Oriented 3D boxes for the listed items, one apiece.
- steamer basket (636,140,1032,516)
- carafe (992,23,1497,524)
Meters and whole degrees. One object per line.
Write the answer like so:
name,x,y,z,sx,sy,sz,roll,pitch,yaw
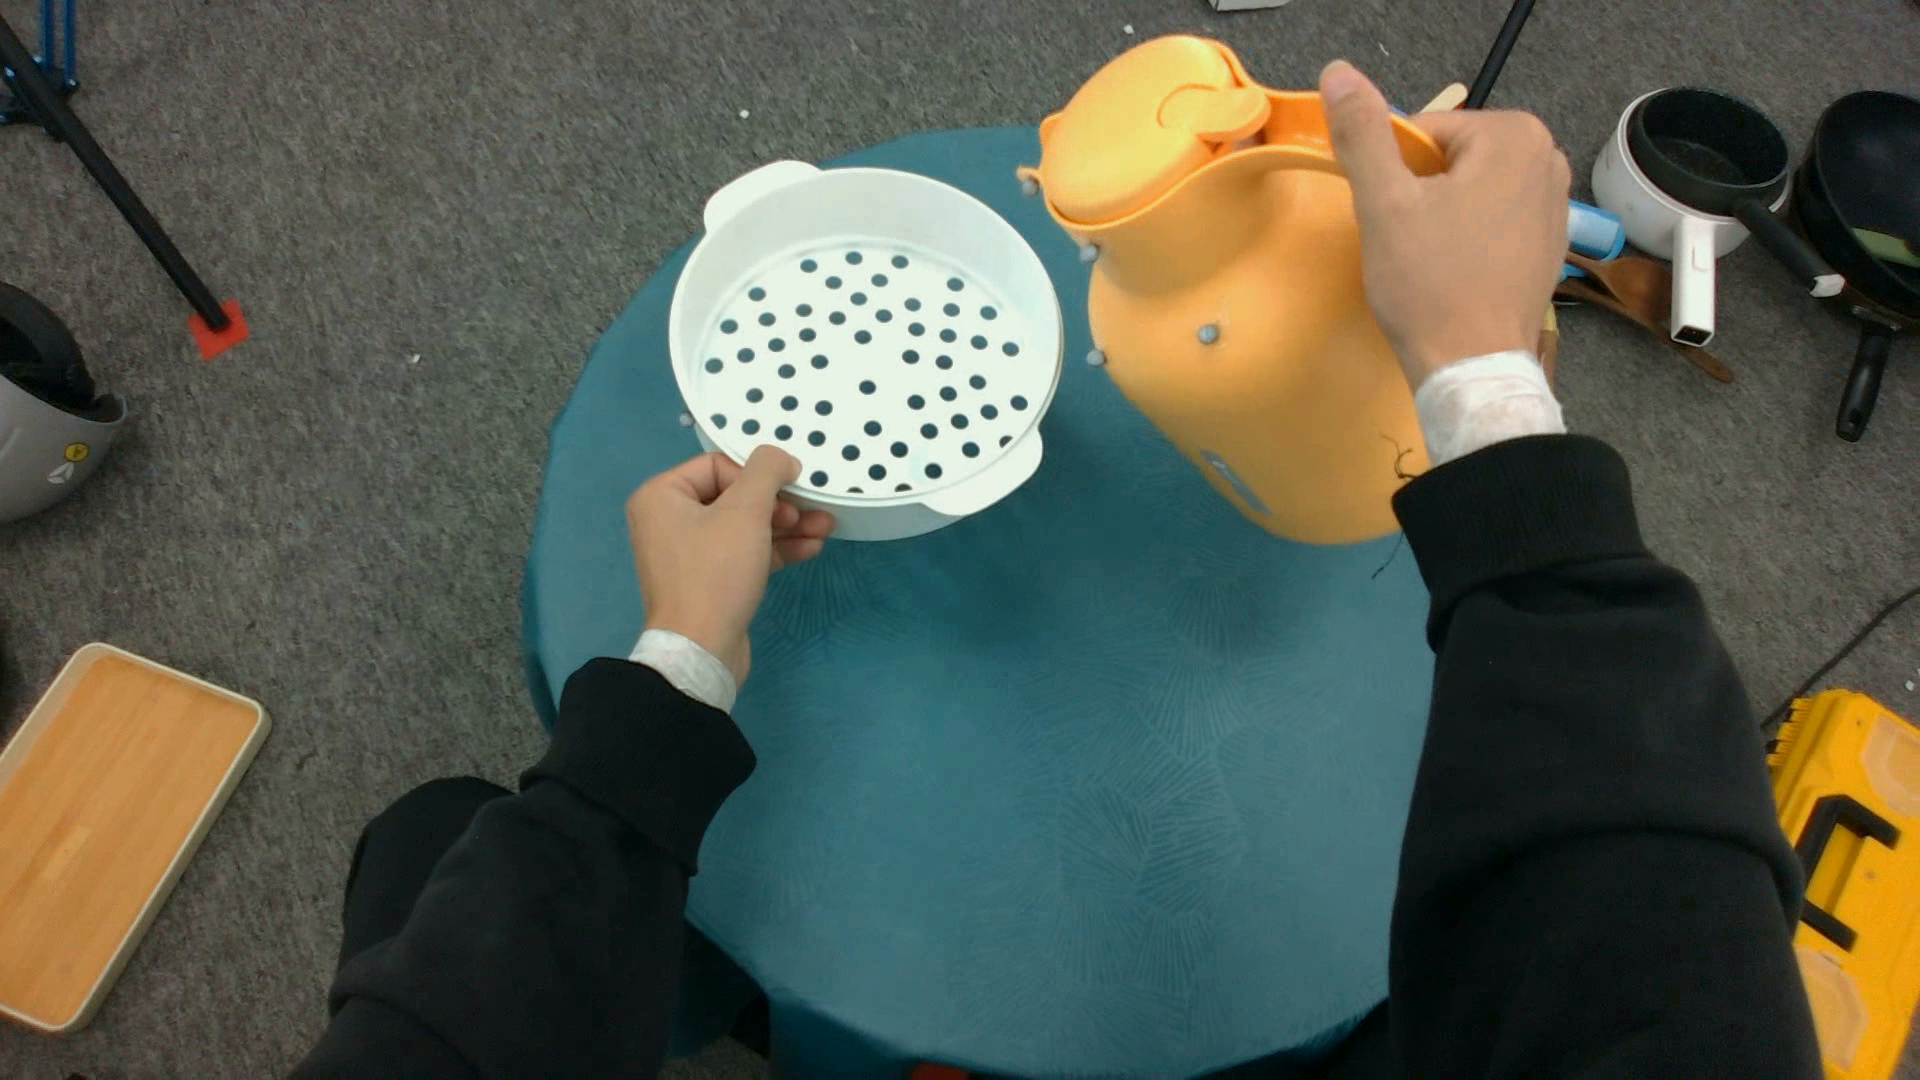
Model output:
steamer basket,-0.065,-0.109,0.727,0.202,0.069,0.231,-34,72,-18
carafe,0.146,-0.122,0.639,0.202,0.260,0.164,15,75,49
